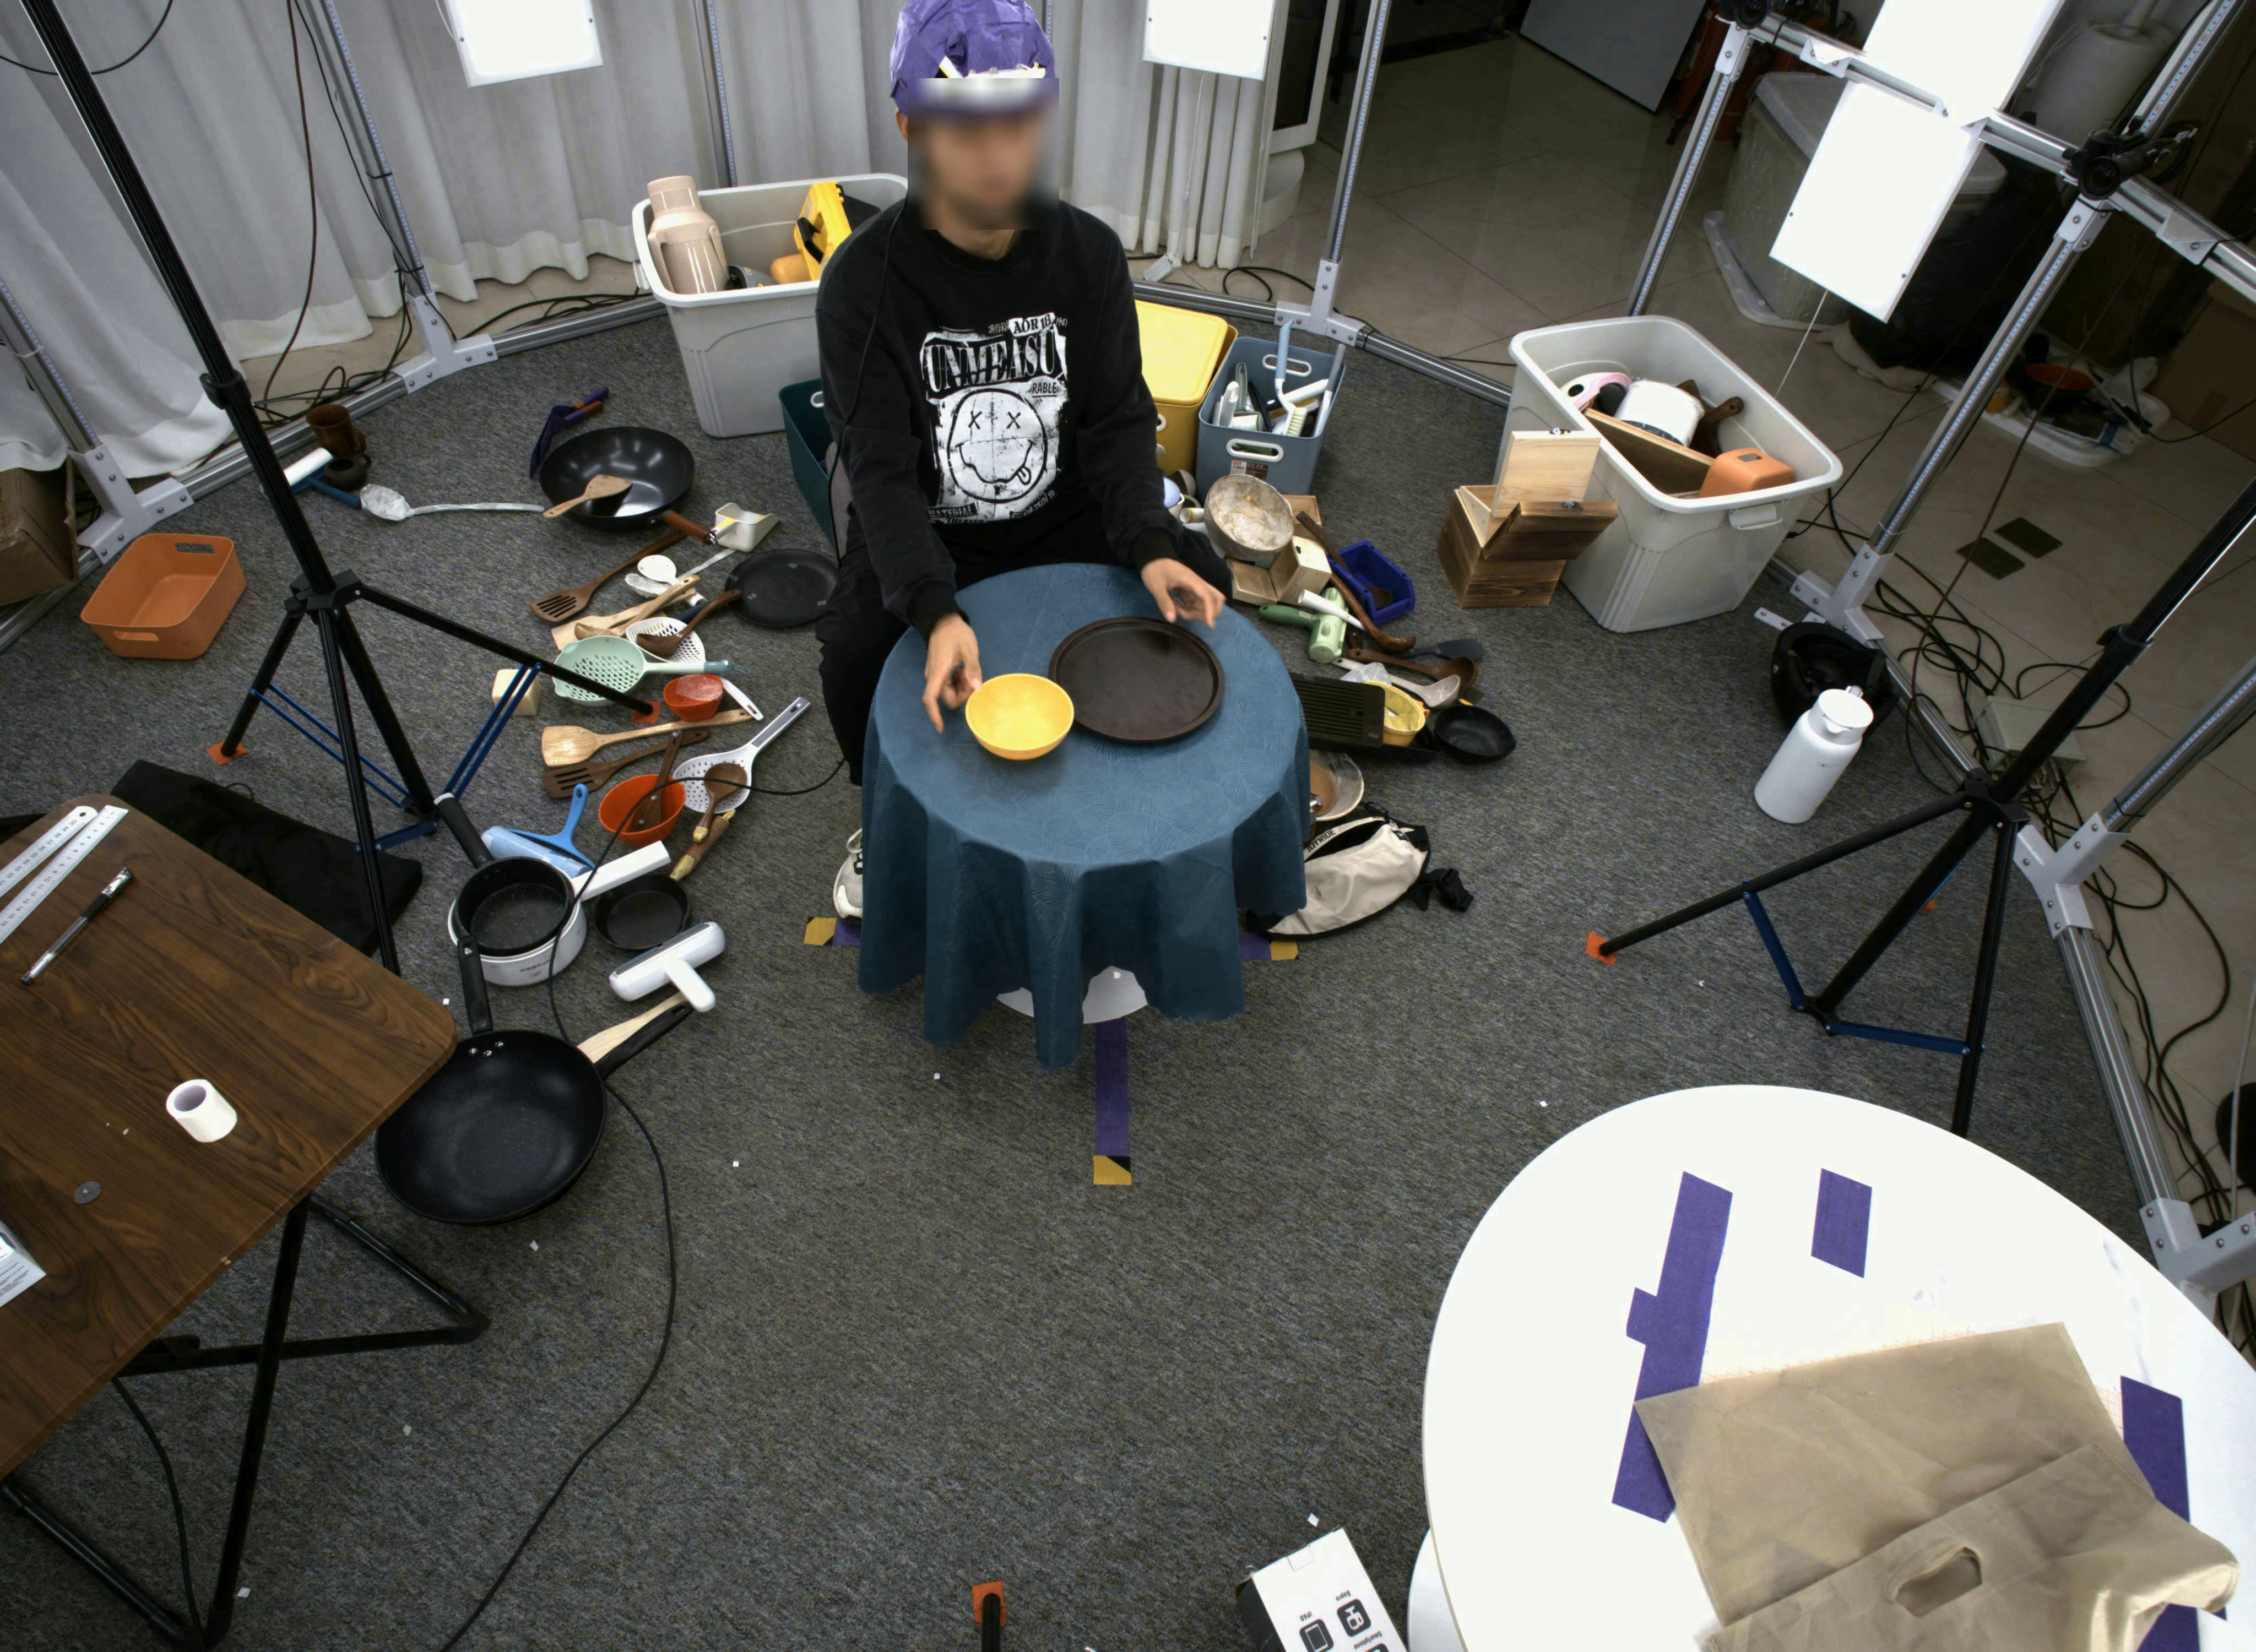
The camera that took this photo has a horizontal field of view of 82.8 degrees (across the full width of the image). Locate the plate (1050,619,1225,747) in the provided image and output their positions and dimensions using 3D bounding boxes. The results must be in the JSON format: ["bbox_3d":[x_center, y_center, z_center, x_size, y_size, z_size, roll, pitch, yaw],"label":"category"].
[{"bbox_3d":[0.014,-0.208,1.851,0.254,0.028,0.261,1,48,-1],"label":"plate"}]

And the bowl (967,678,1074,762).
[{"bbox_3d":[-0.147,-0.133,1.754,0.145,0.058,0.149,3,46,-3],"label":"bowl"}]
